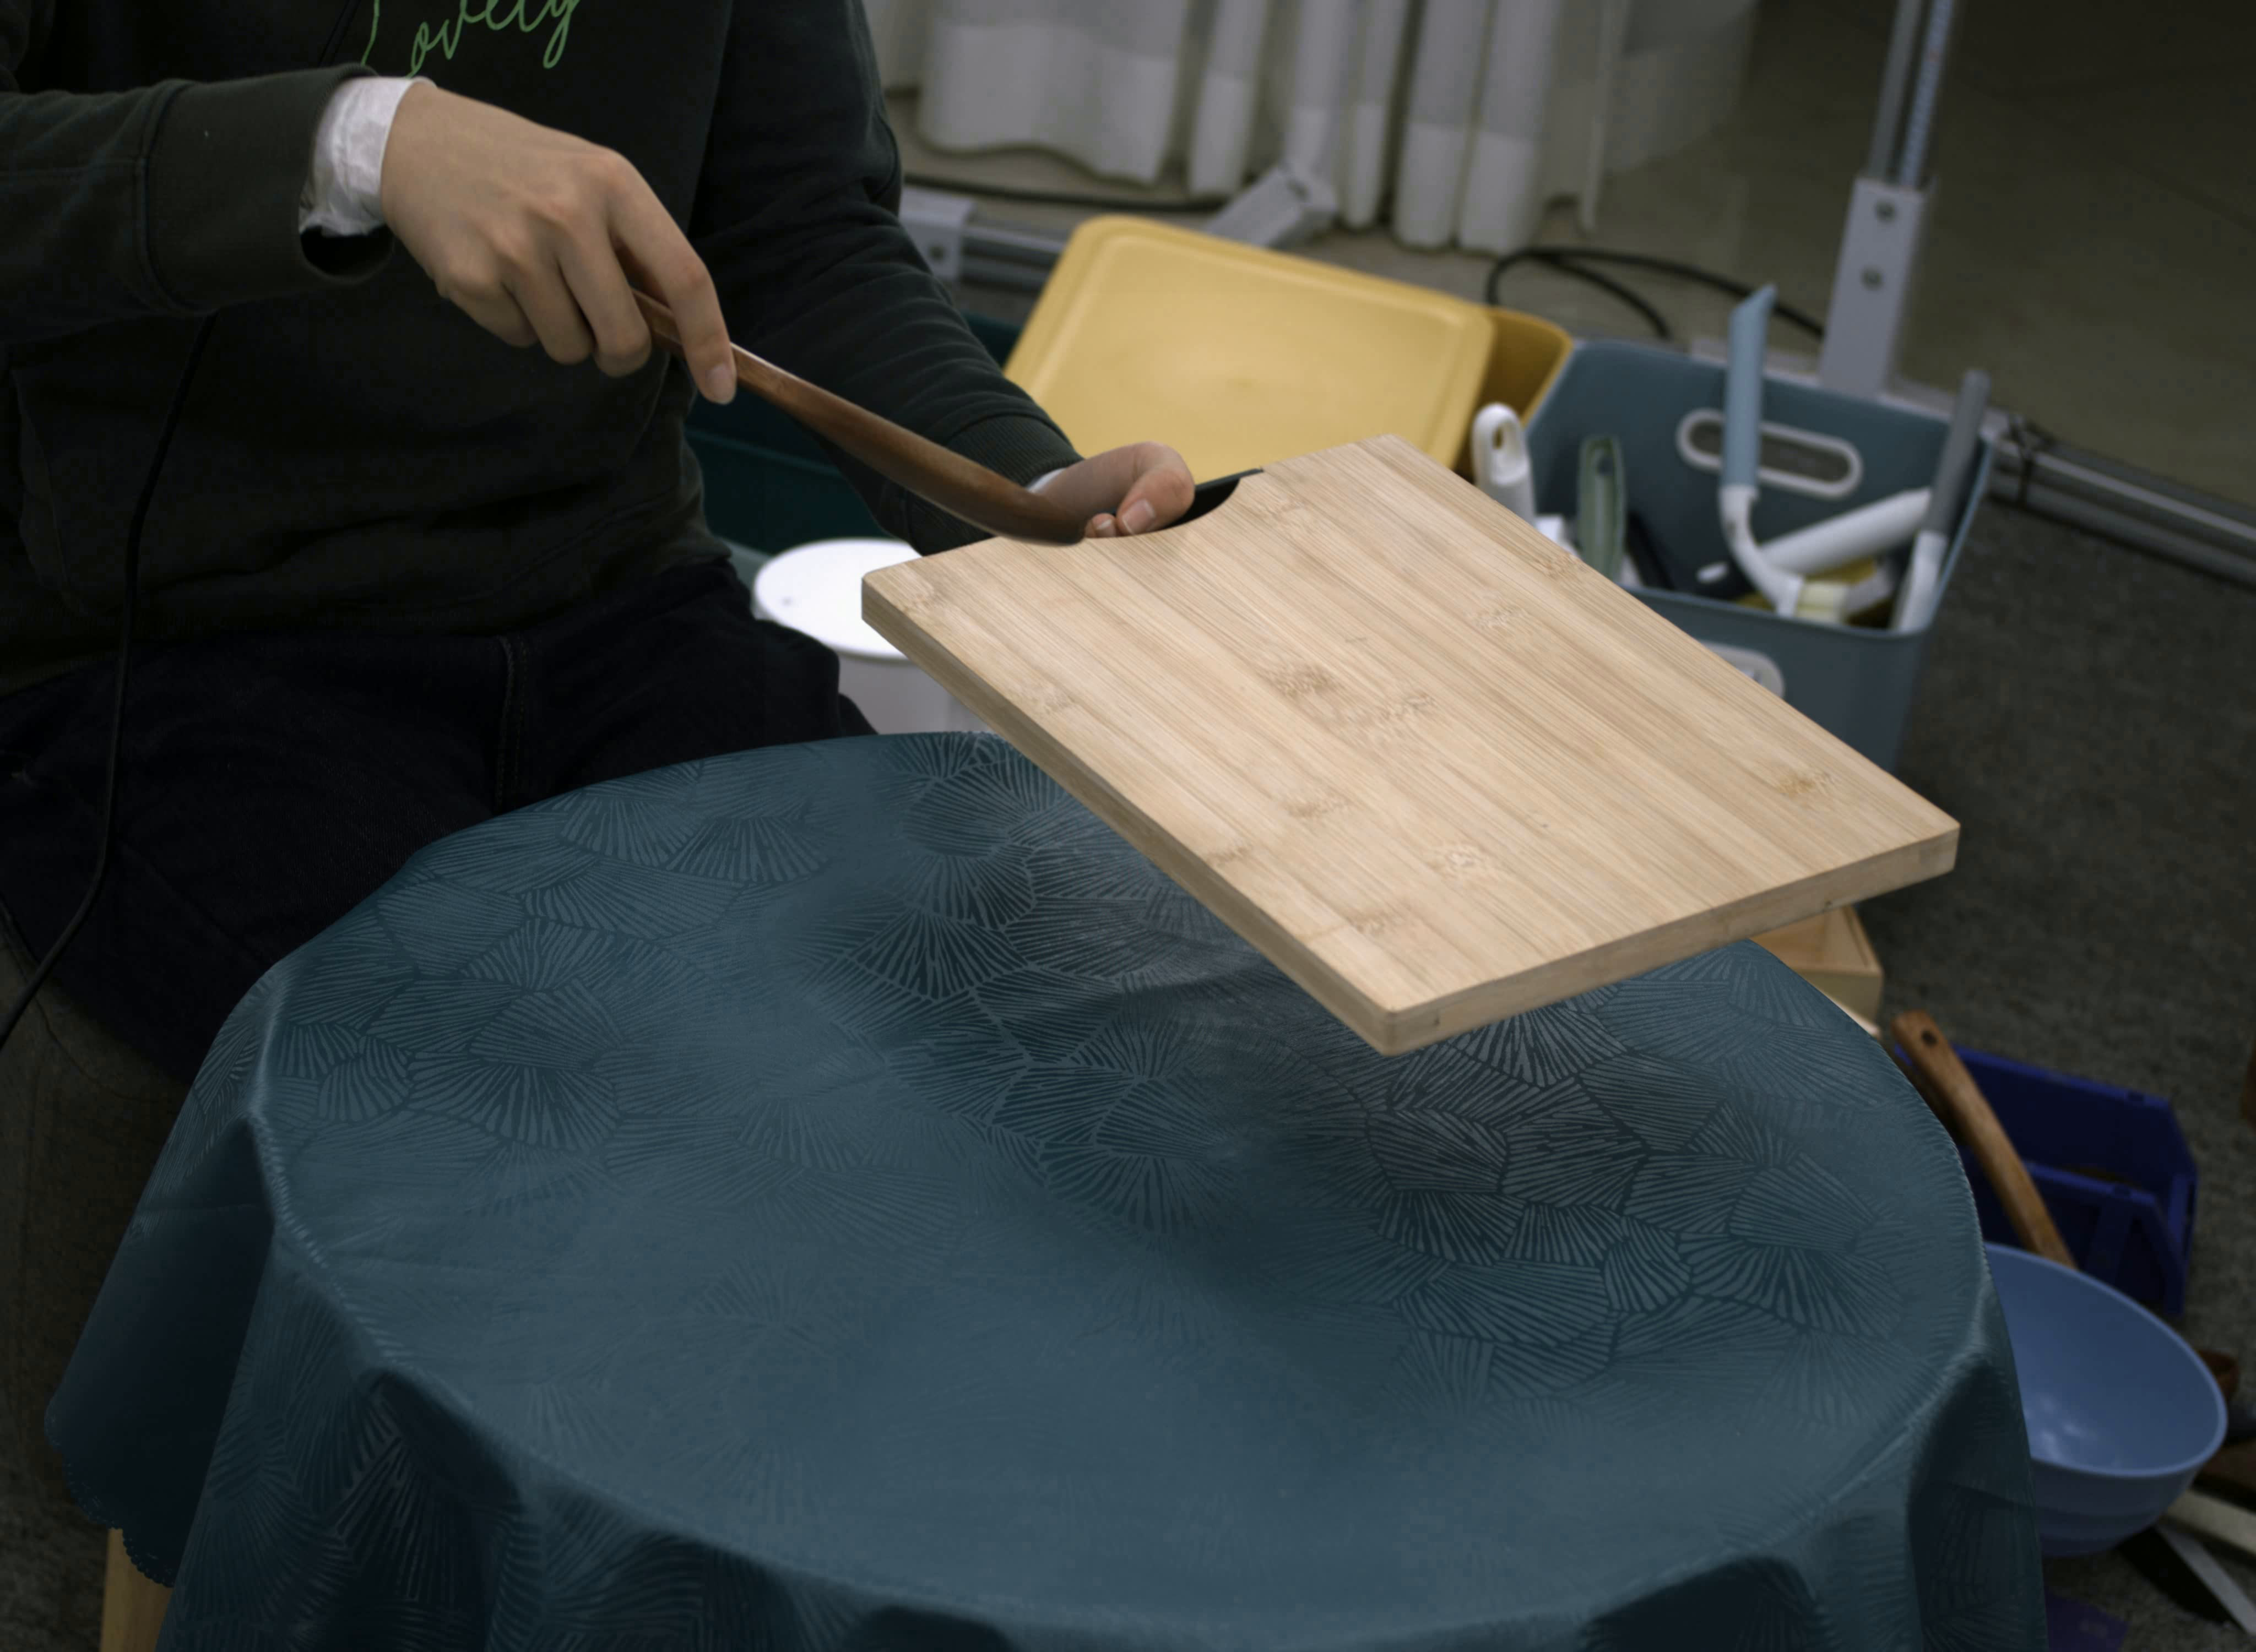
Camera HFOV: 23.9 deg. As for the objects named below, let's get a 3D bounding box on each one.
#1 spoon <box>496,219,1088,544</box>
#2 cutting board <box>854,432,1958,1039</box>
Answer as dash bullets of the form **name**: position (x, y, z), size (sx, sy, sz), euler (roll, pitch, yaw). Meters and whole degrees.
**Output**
- **spoon**: position (-0.110, -0.141, 1.740), size (0.215, 0.017, 0.075), euler (28, 2, 1)
- **cutting board**: position (0.090, -0.040, 1.882), size (0.249, 0.023, 0.352), euler (-16, 35, -29)
